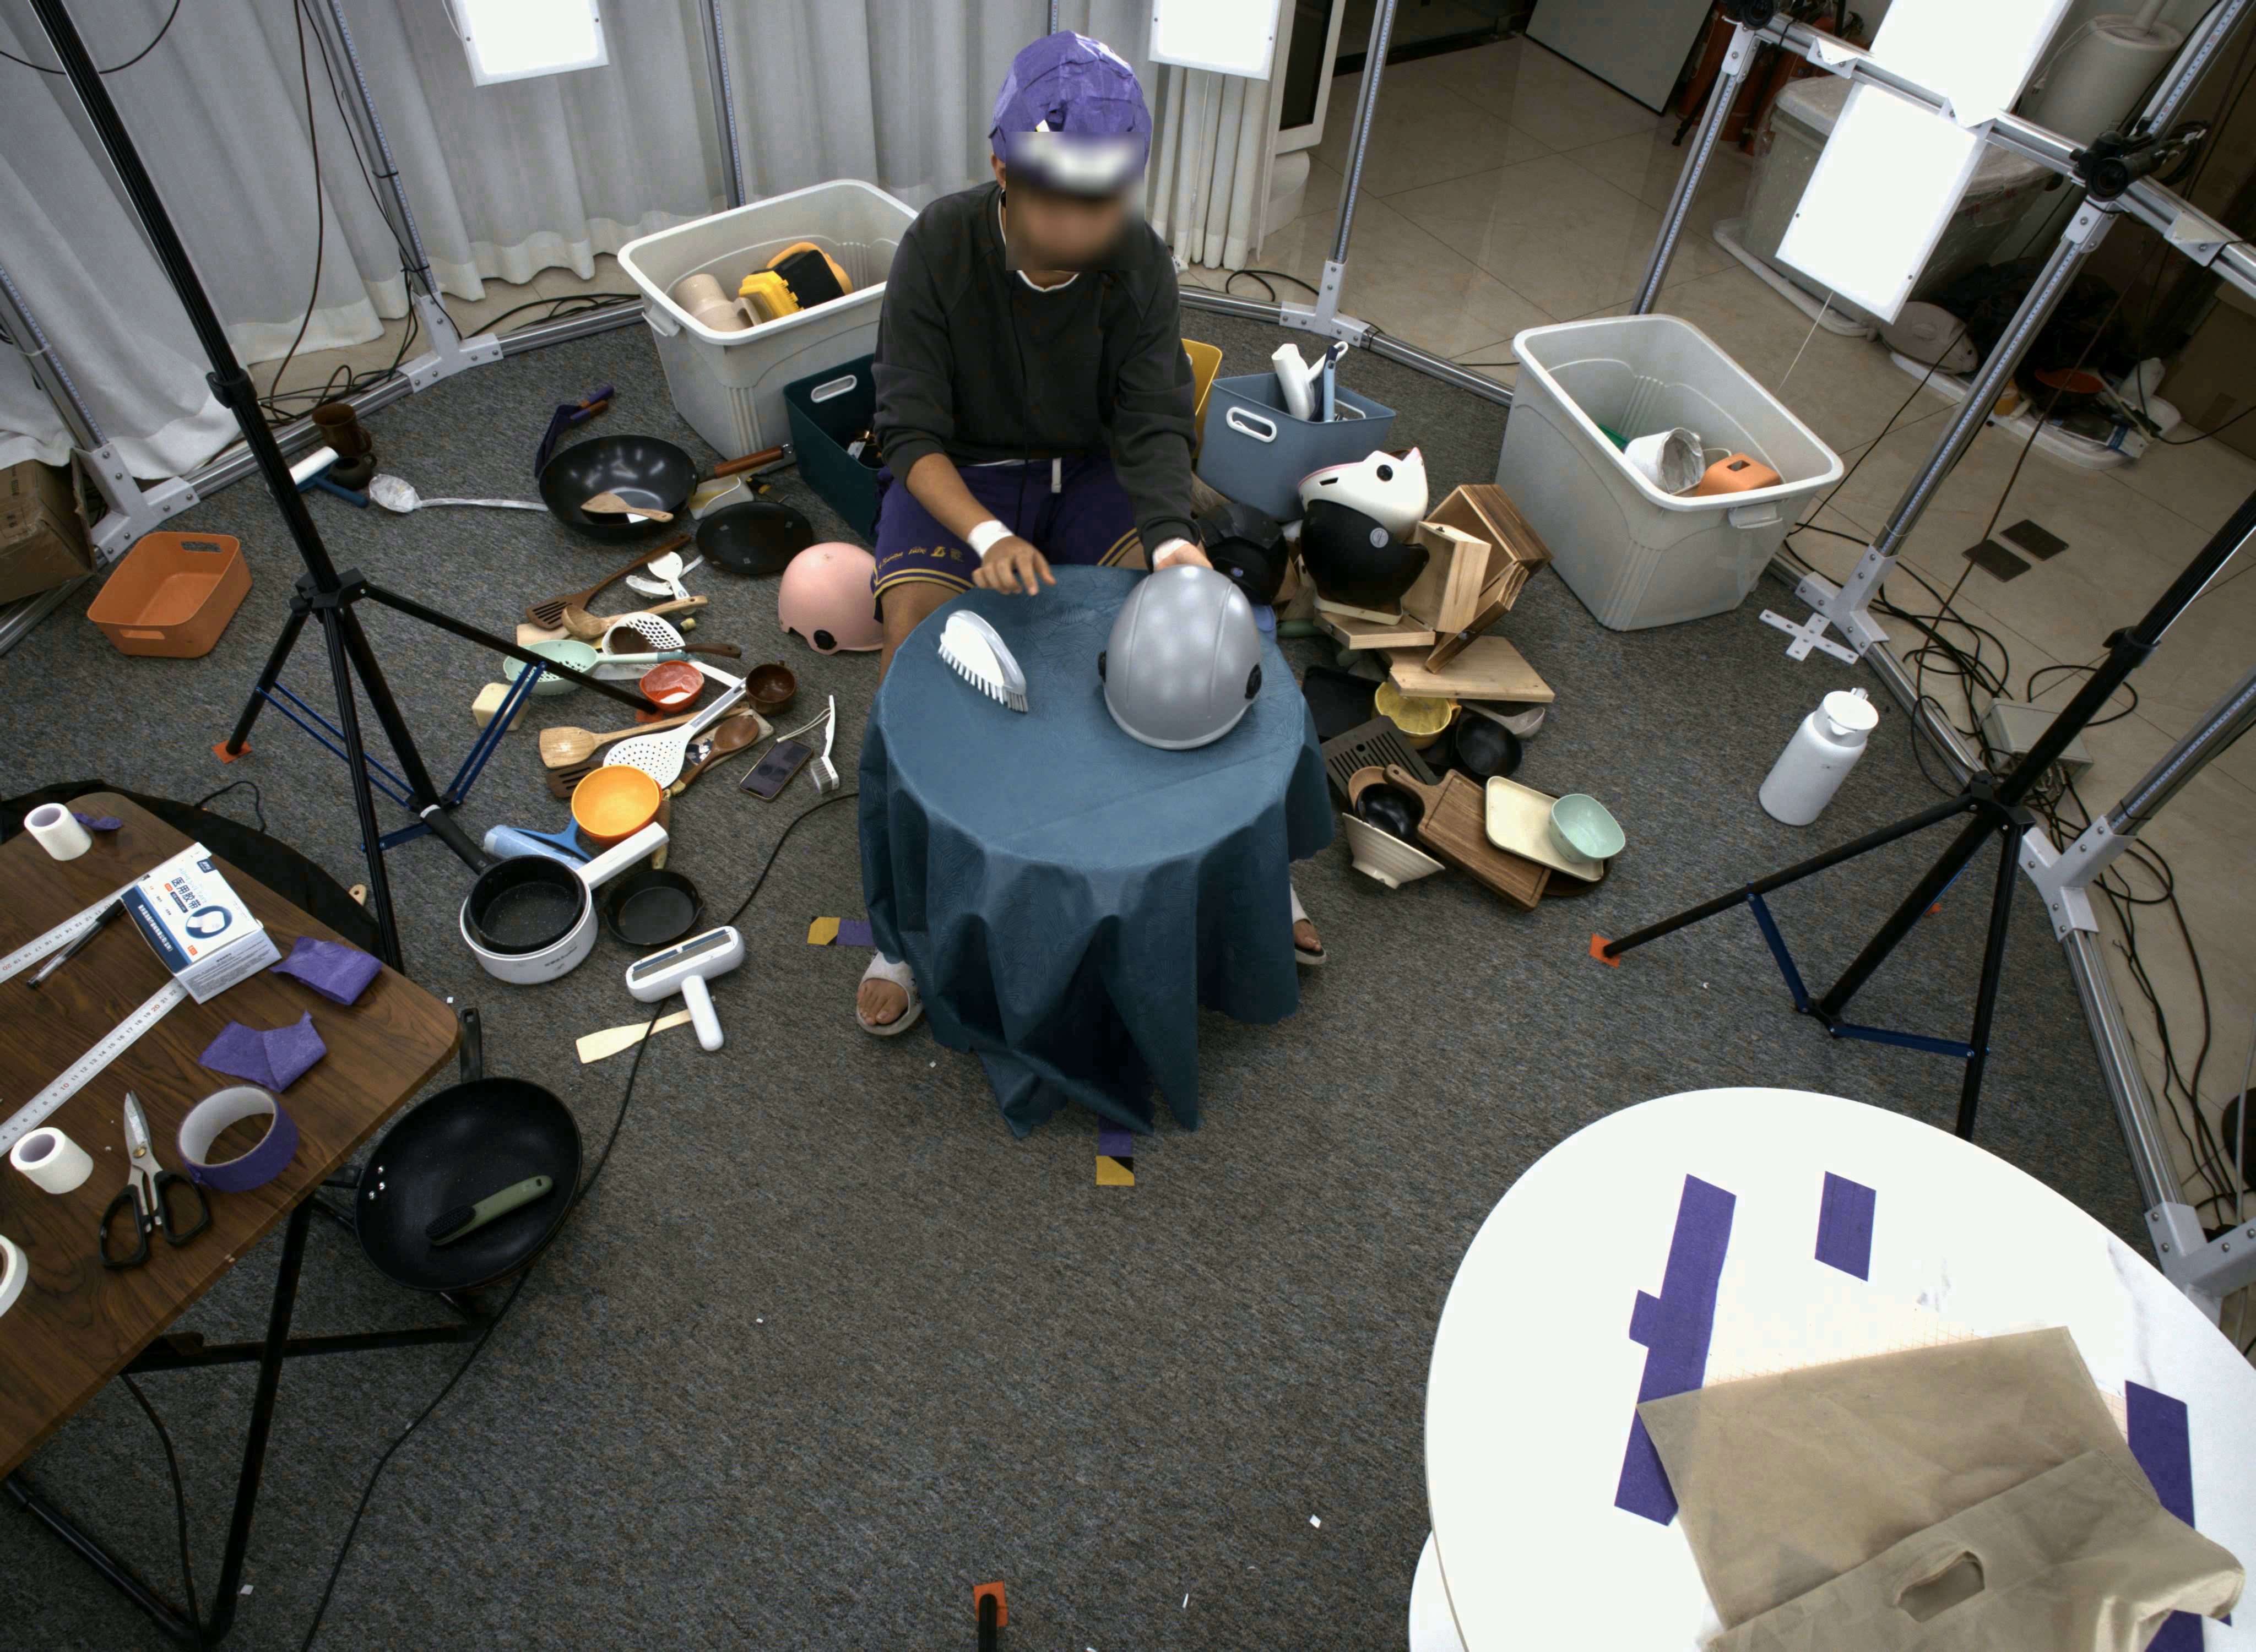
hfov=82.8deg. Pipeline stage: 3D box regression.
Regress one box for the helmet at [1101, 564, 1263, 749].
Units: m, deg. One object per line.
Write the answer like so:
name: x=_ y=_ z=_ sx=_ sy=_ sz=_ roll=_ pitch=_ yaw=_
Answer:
helmet: x=0.077 y=-0.260 z=1.790 sx=0.232 sy=0.164 sz=0.282 roll=7 pitch=50 yaw=12

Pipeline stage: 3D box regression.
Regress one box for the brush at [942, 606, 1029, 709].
brush: x=-0.195 y=-0.243 z=1.806 sx=0.062 sy=0.092 sz=0.178 roll=-31 pitch=60 yaw=-25
